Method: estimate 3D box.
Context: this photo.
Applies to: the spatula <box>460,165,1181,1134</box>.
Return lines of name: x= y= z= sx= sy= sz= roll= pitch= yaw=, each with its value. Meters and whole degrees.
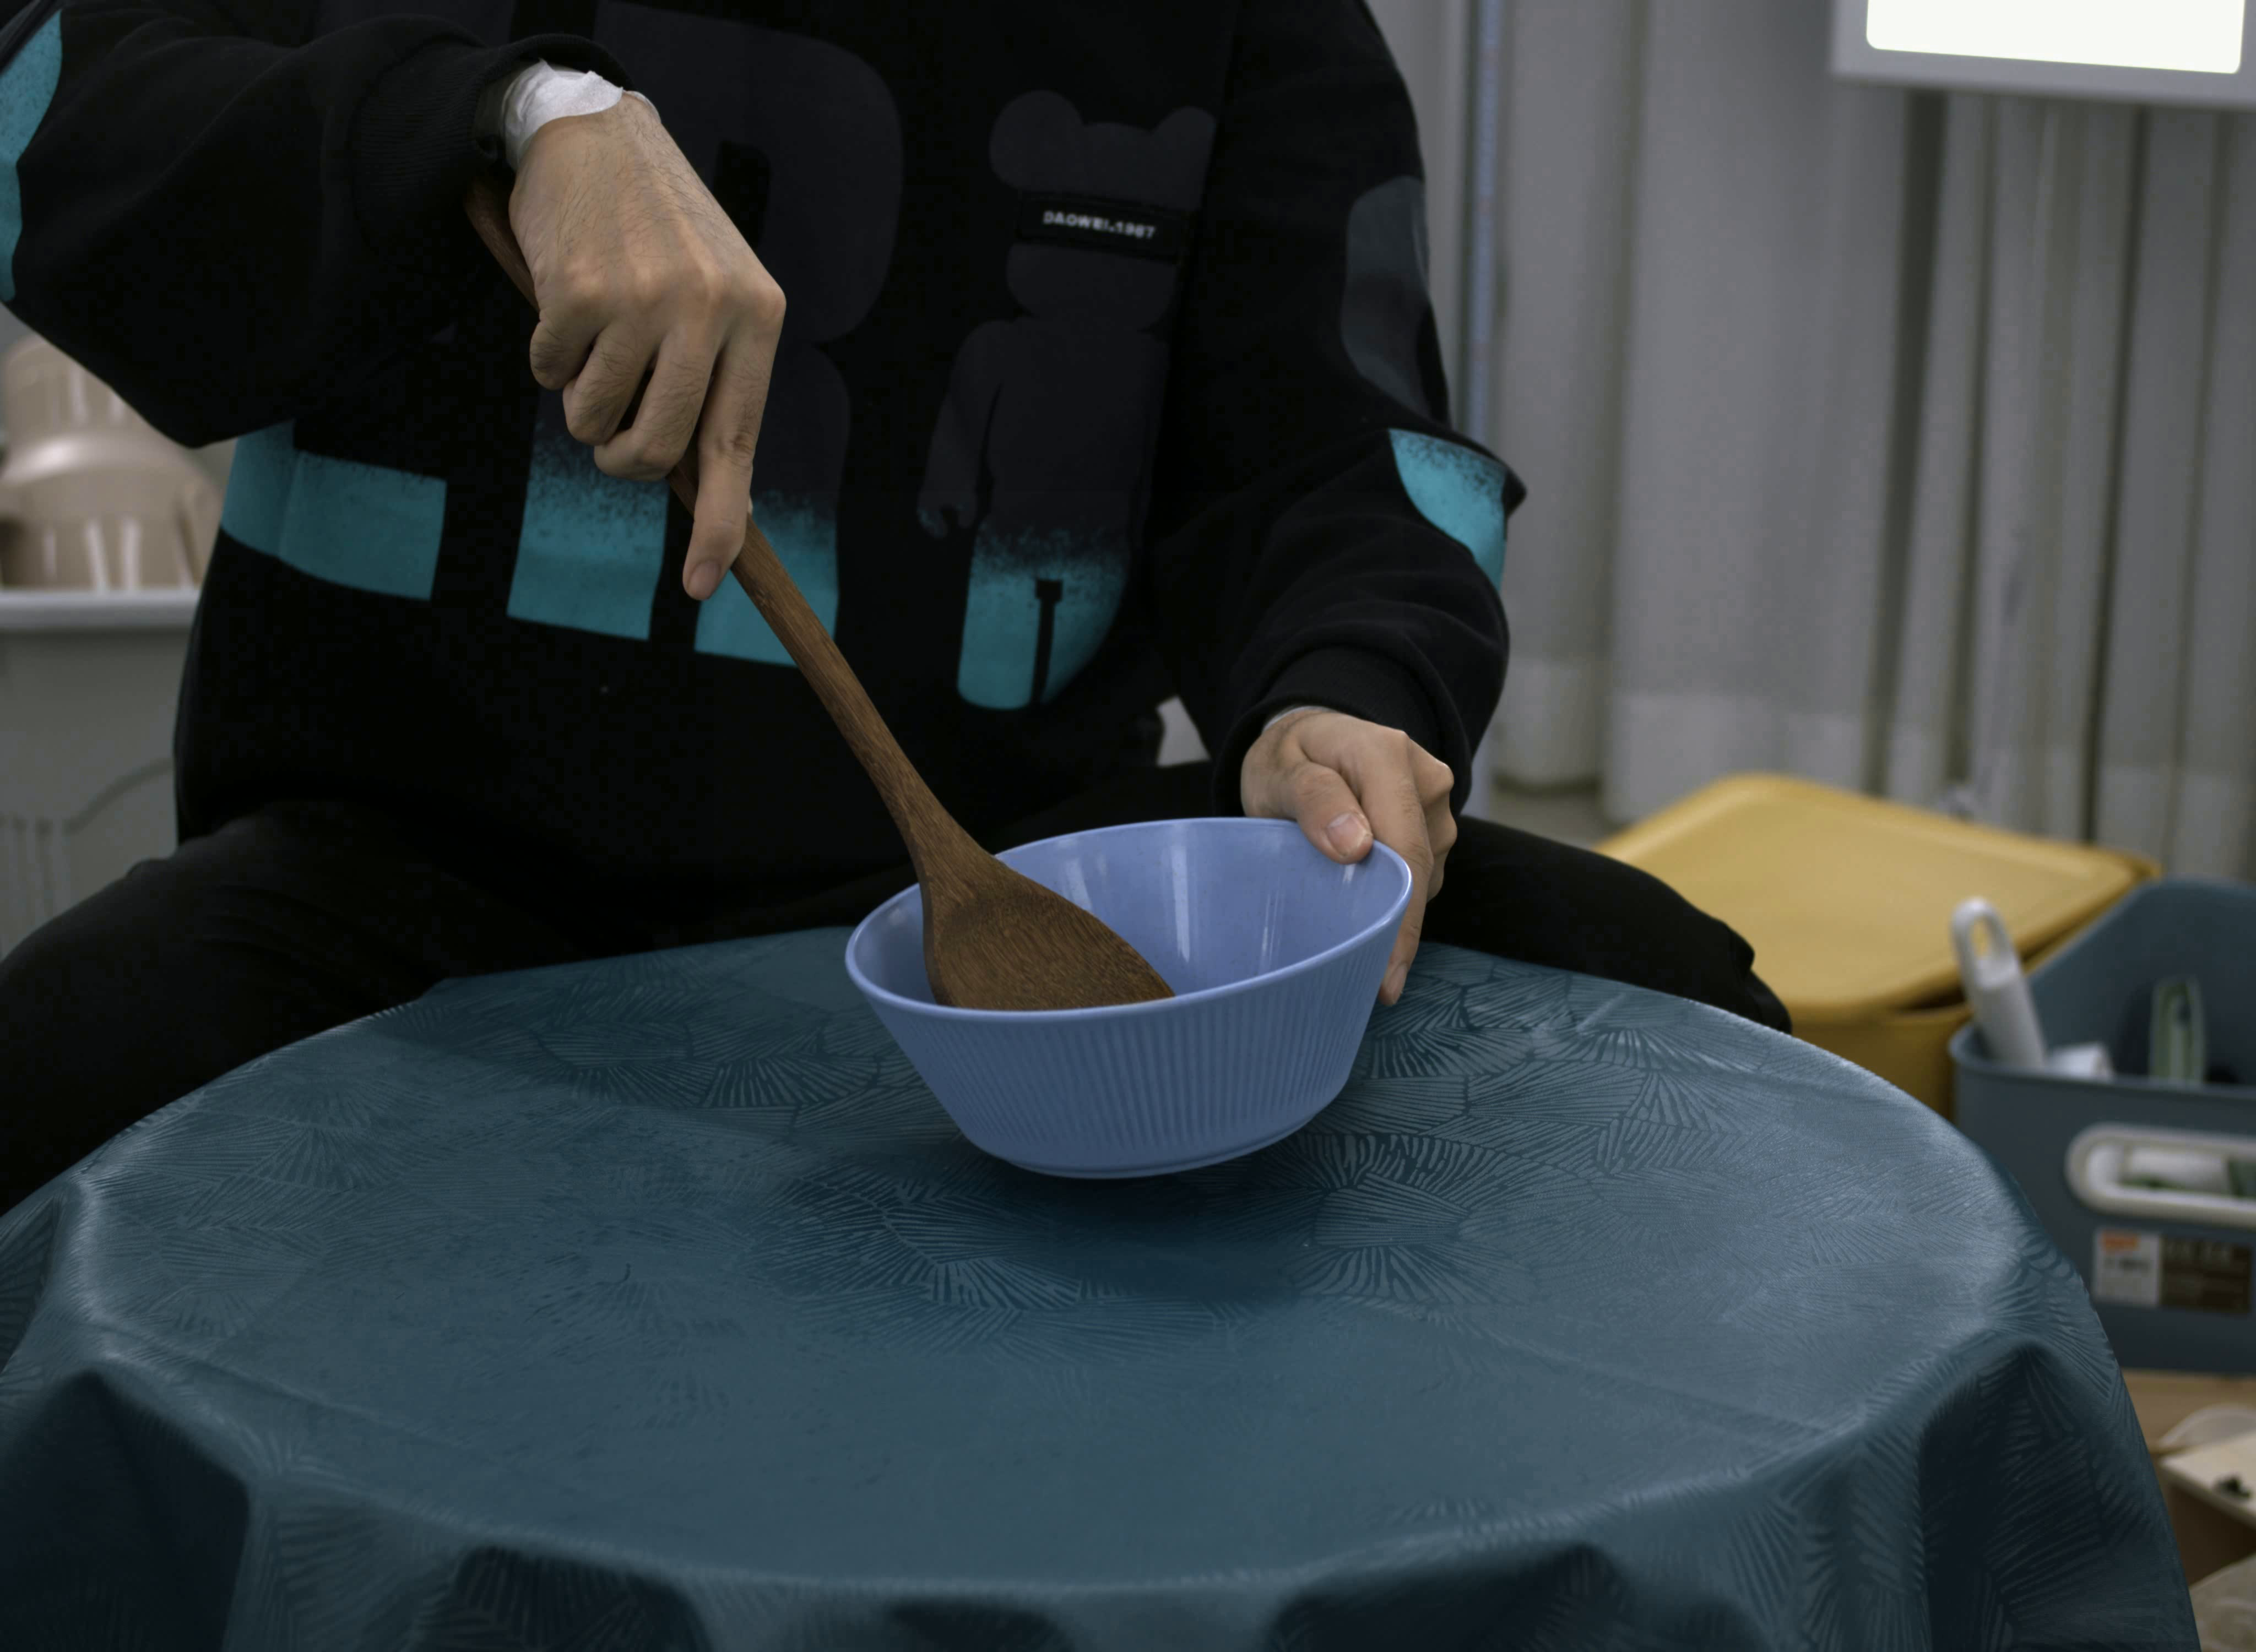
spatula: x=-0.102 y=-0.061 z=1.653 sx=0.096 sy=0.016 sz=0.384 roll=-20 pitch=72 yaw=-52

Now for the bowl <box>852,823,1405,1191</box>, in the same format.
bowl: x=0.006 y=0.060 z=1.633 sx=0.175 sy=0.071 sz=0.175 roll=-11 pitch=18 yaw=4
